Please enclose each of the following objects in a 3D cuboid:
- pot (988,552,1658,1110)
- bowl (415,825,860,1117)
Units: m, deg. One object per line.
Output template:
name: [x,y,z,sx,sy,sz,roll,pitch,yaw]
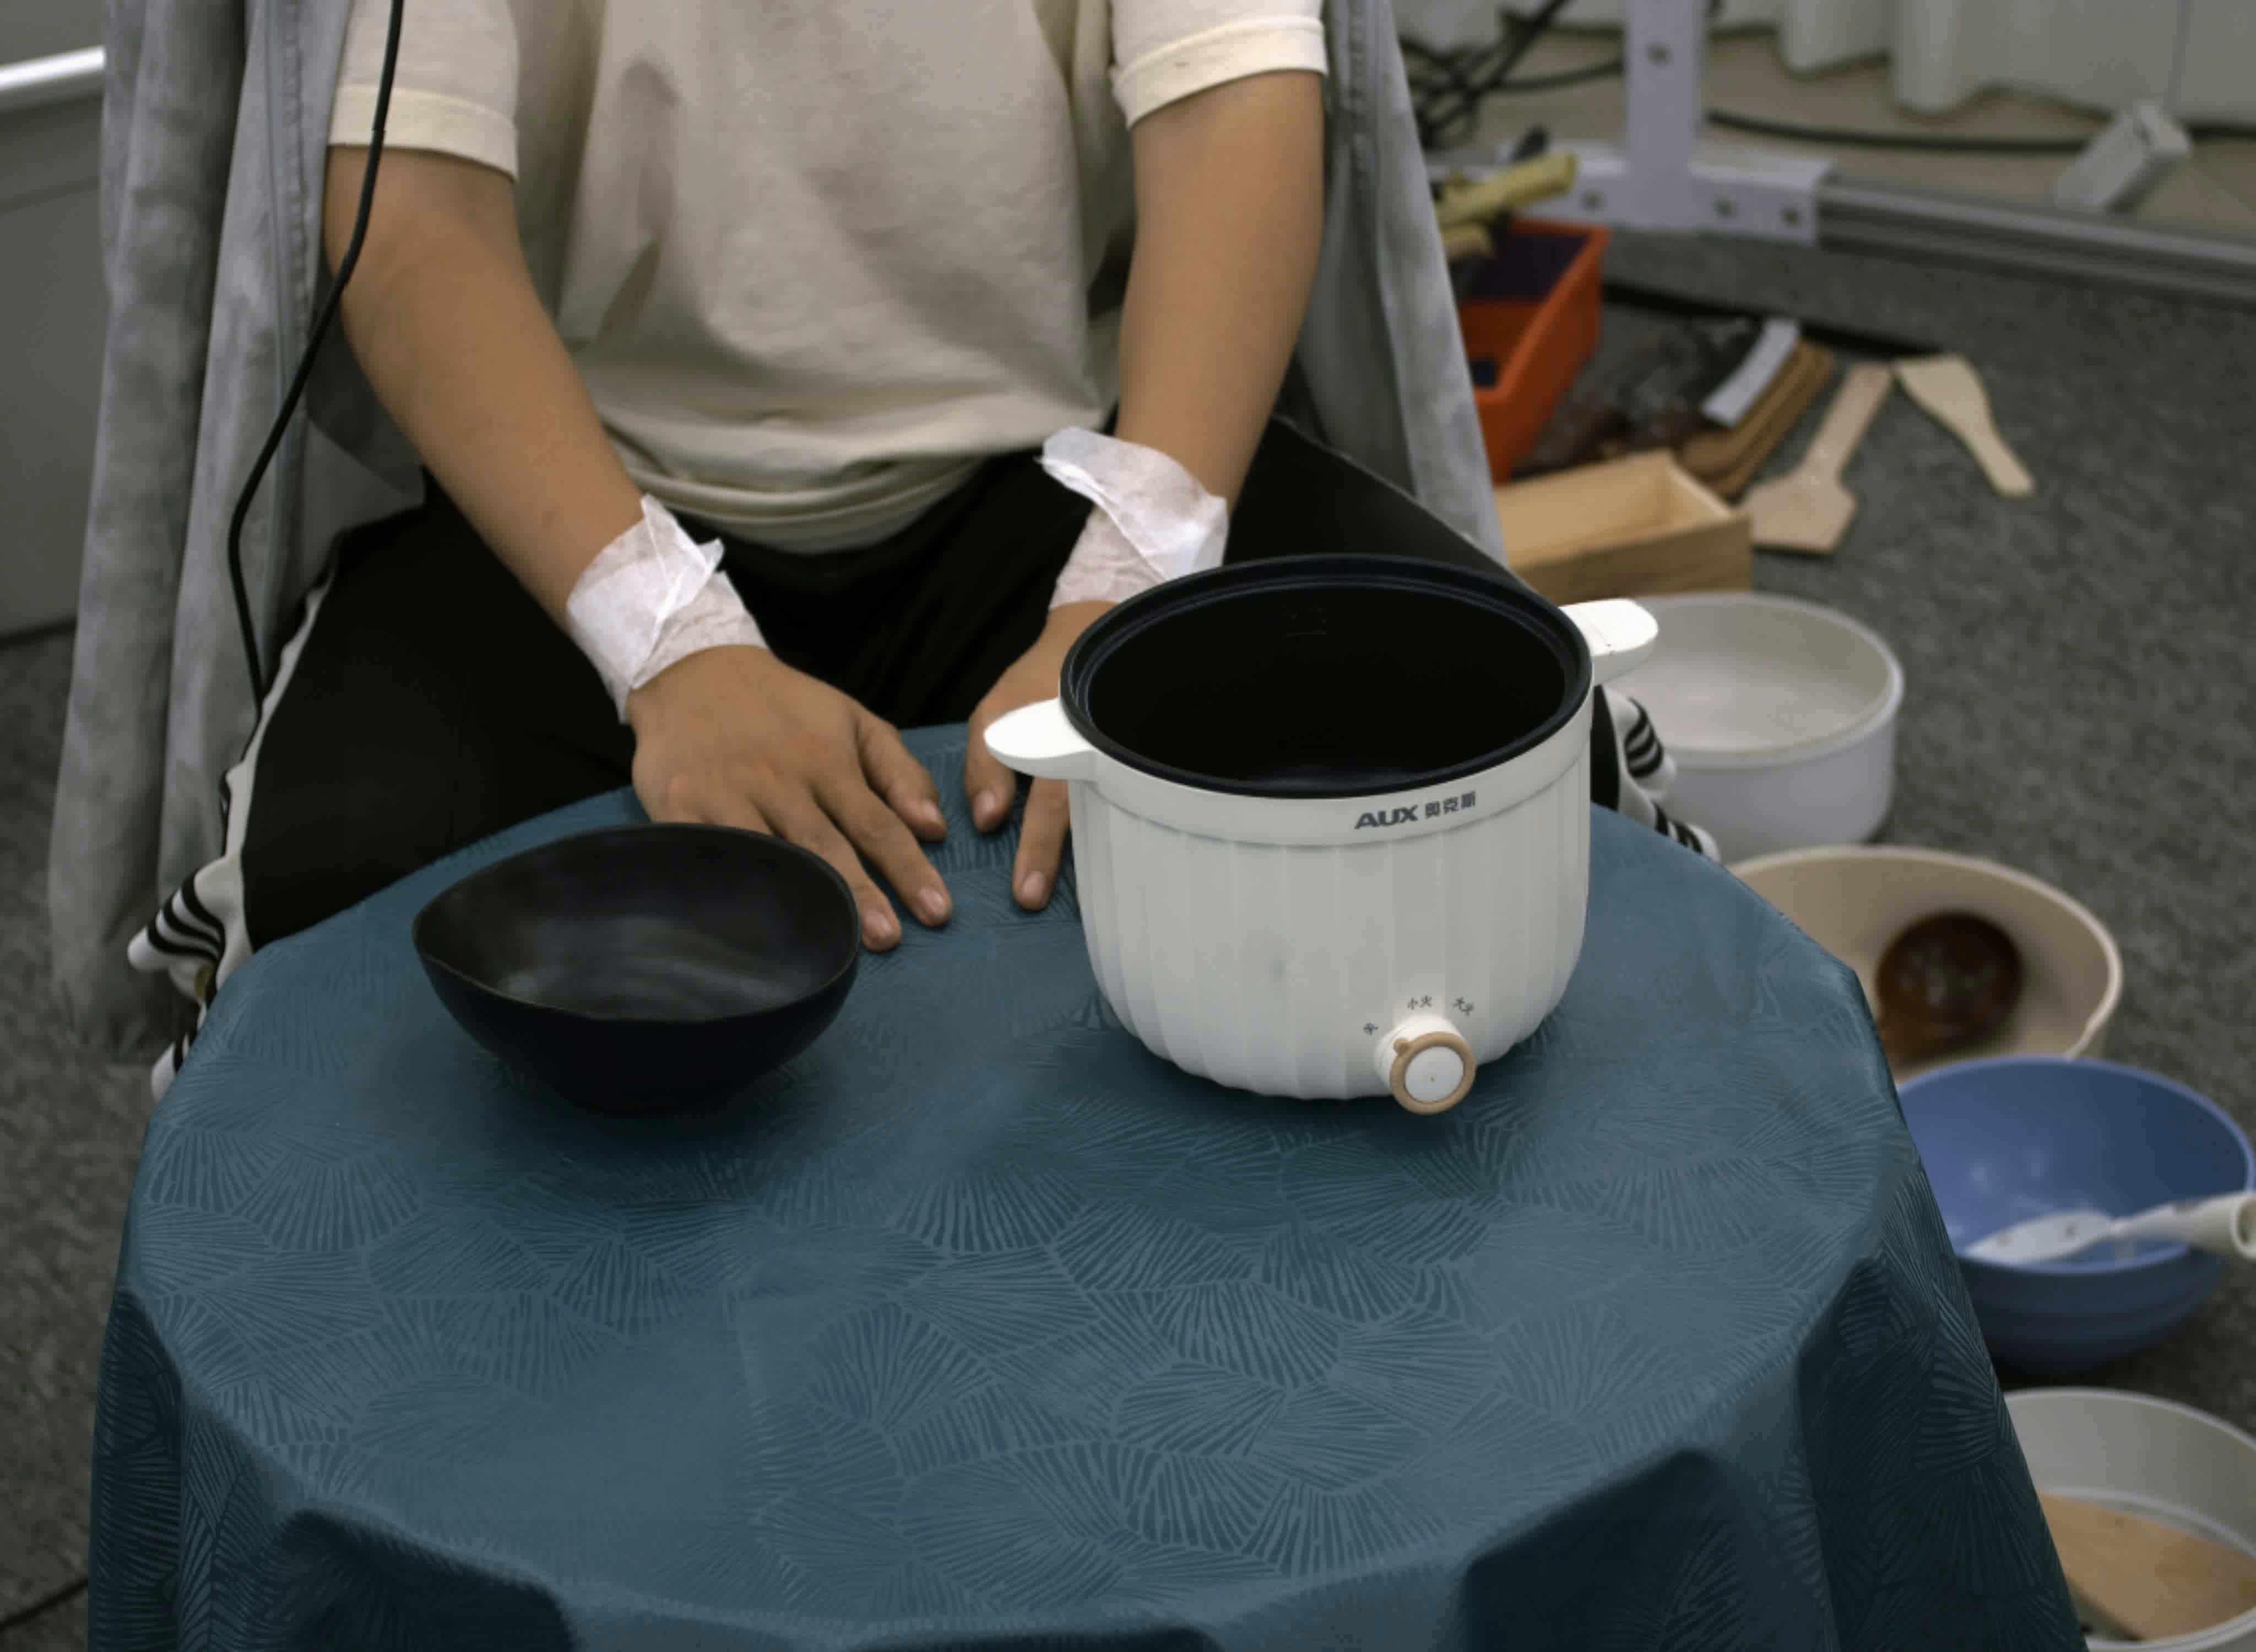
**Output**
pot: [0.073,0.006,1.928,0.241,0.141,0.192,-12,24,-15]
bowl: [-0.168,0.058,1.932,0.169,0.066,0.139,14,30,32]
